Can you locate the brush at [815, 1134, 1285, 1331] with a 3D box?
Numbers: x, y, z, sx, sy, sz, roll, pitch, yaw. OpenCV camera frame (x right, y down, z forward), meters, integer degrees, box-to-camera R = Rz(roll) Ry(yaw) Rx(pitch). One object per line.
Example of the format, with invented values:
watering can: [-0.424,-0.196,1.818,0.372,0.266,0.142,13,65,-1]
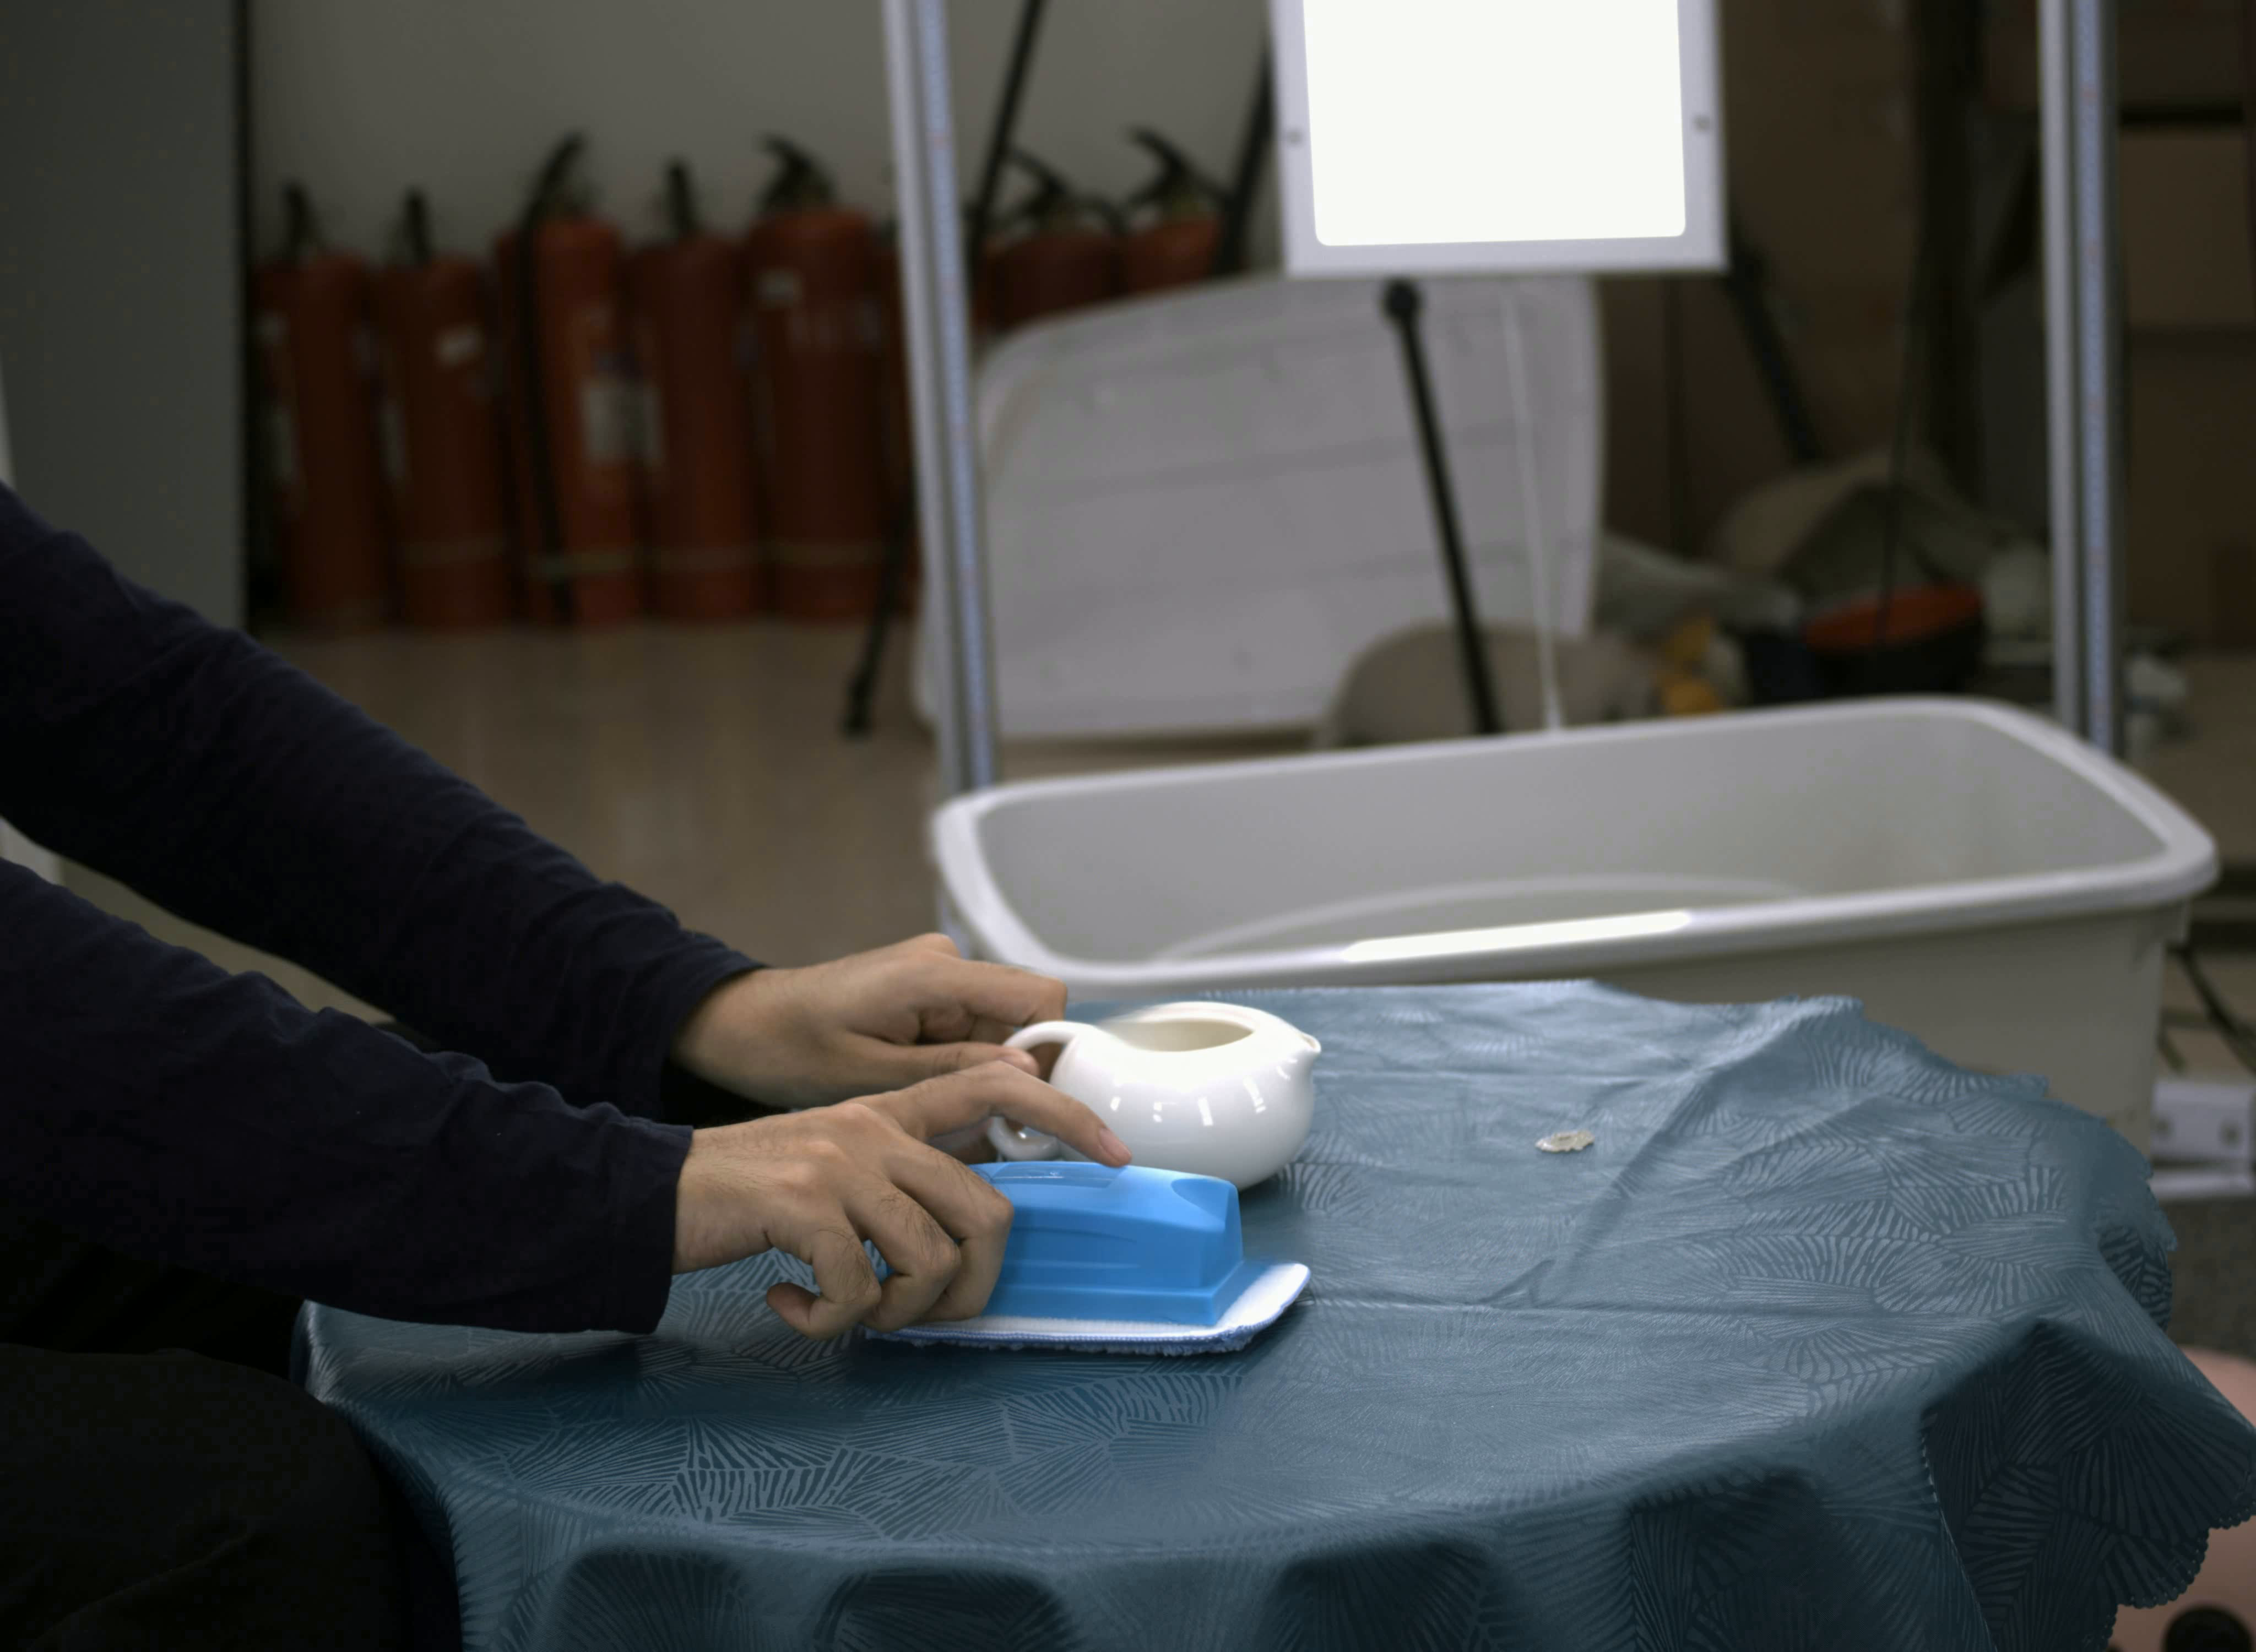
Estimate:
brush: [-0.025,0.130,1.767,0.146,0.056,0.082,4,13,24]

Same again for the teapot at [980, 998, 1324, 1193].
teapot: [0.008,0.095,1.906,0.128,0.057,0.092,0,18,17]
